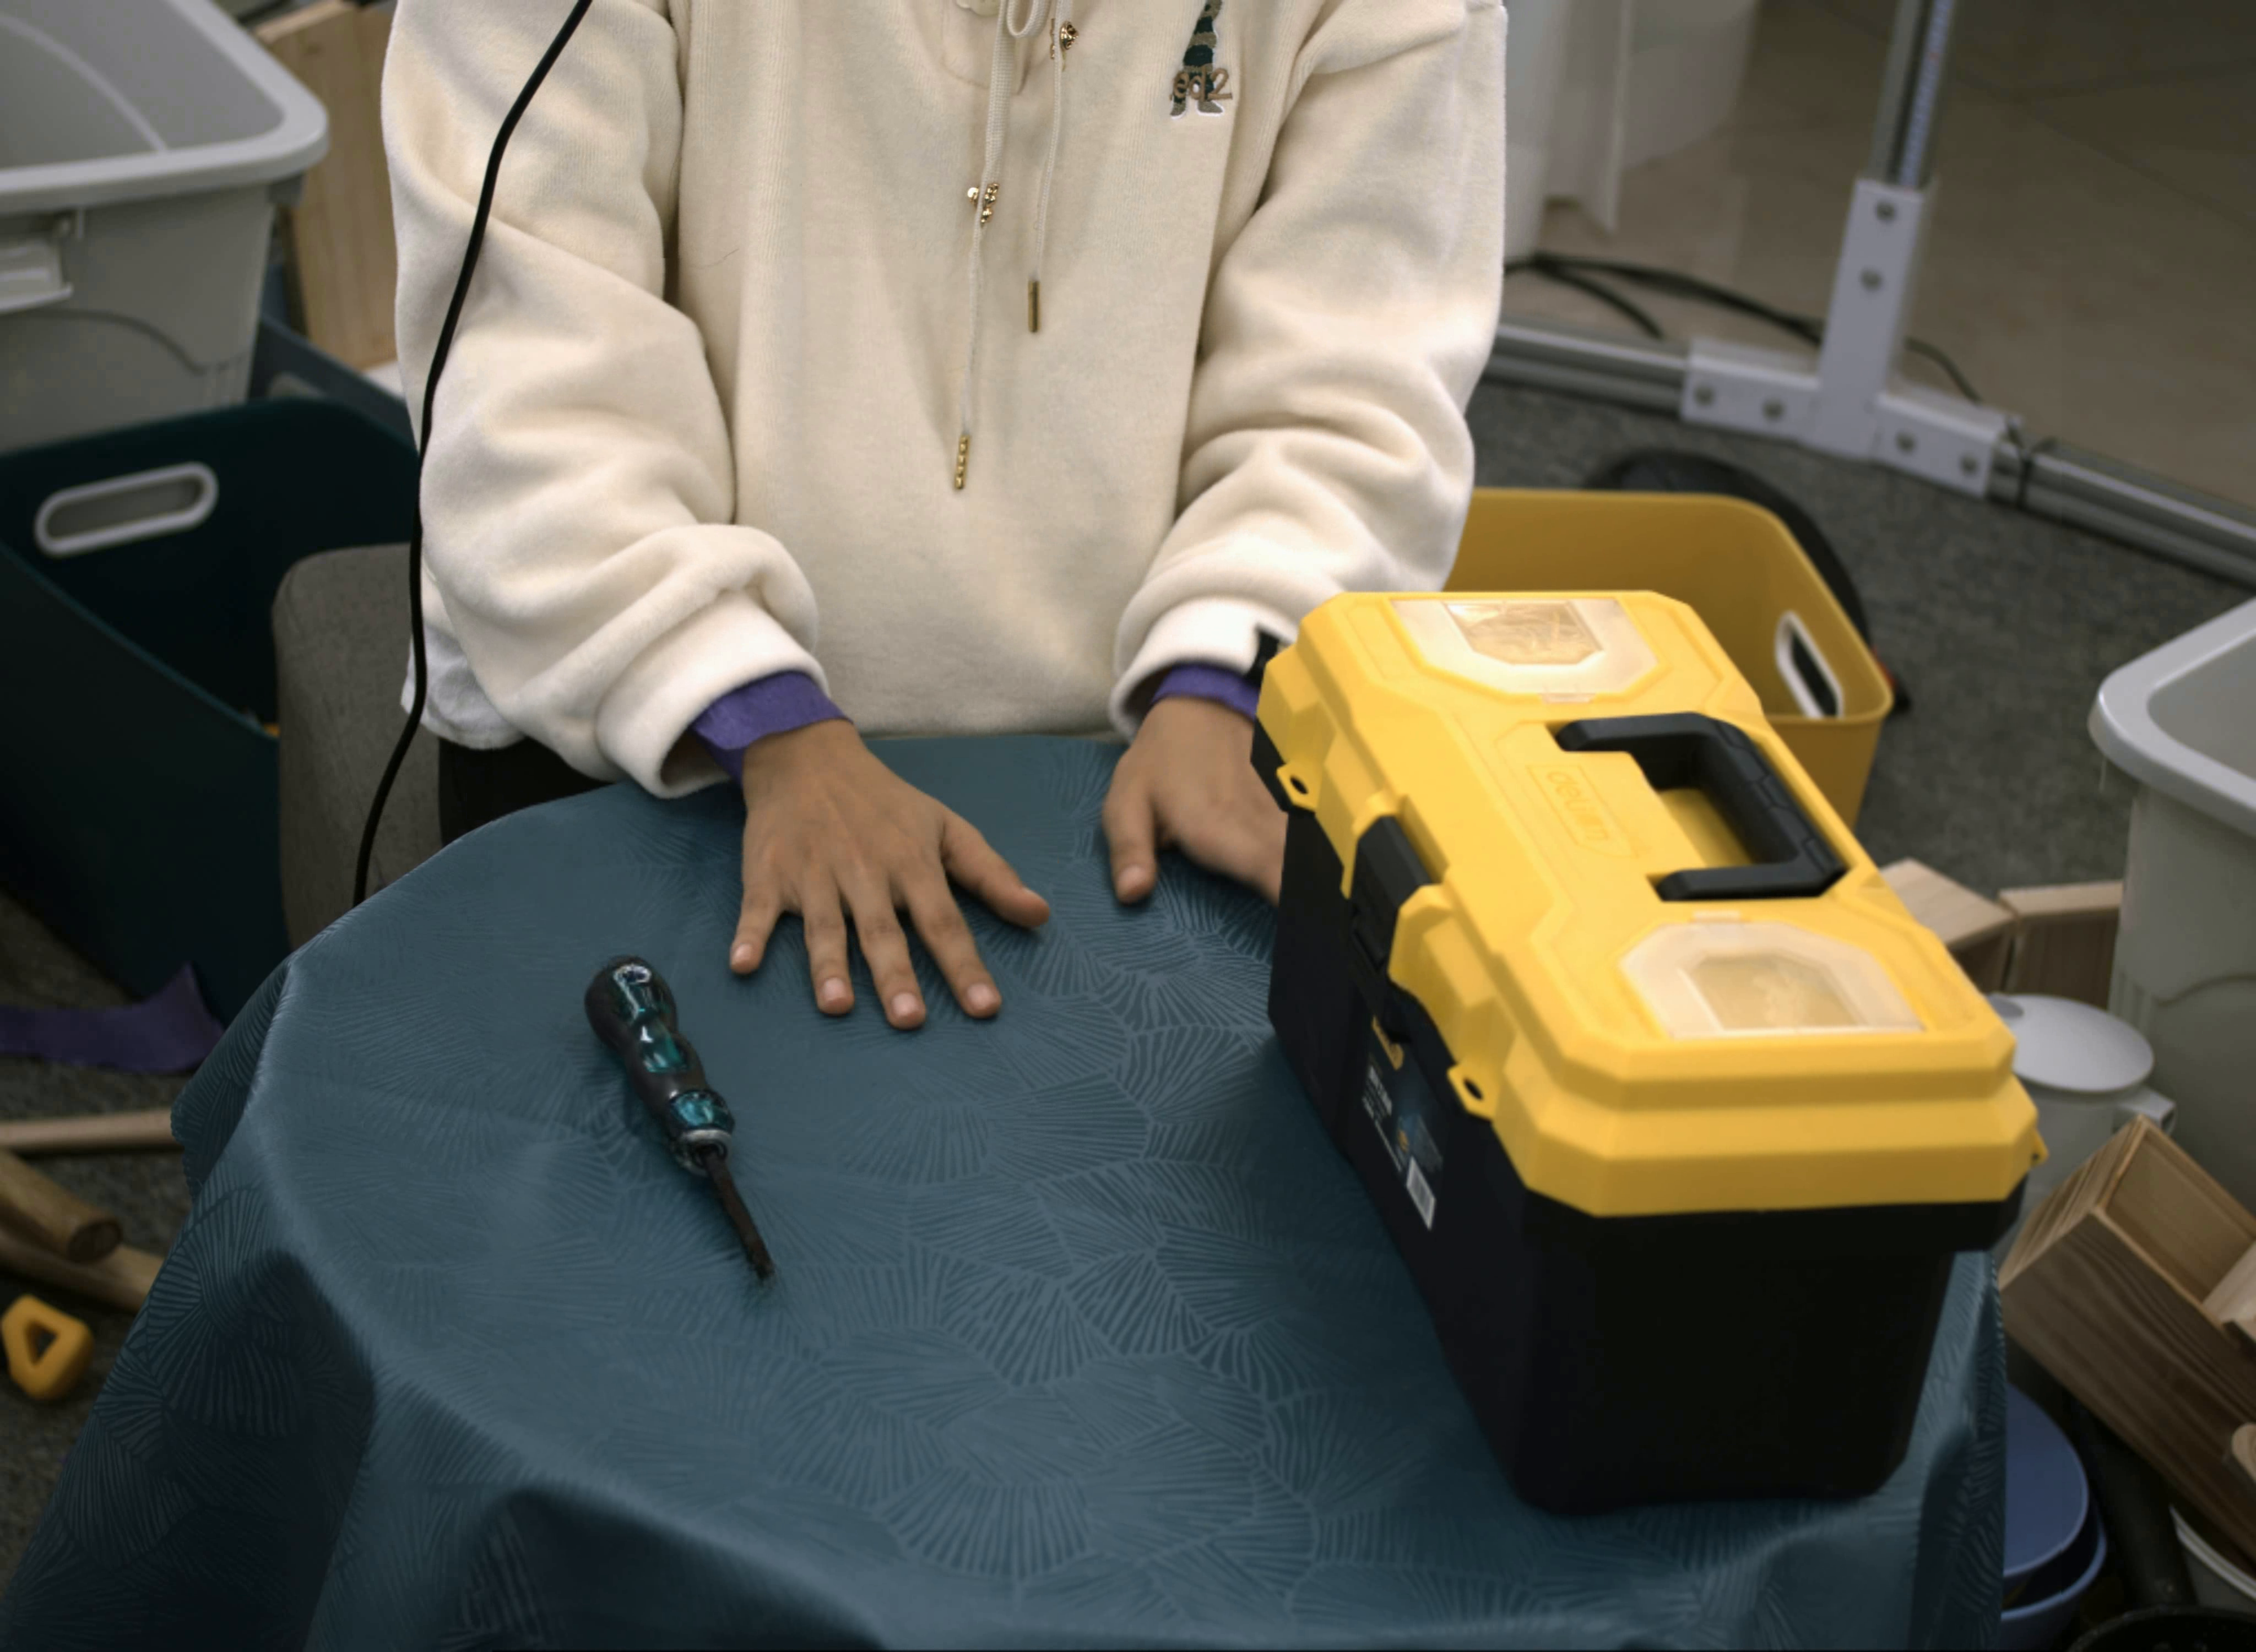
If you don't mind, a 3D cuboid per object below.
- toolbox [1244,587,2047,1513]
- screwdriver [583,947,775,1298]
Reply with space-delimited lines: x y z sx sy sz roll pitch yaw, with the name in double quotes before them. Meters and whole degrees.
"toolbox" 0.157 0.066 1.759 0.180 0.172 0.354 -1 28 -14
"screwdriver" -0.148 0.101 1.789 0.033 0.033 0.192 -4 33 -21
